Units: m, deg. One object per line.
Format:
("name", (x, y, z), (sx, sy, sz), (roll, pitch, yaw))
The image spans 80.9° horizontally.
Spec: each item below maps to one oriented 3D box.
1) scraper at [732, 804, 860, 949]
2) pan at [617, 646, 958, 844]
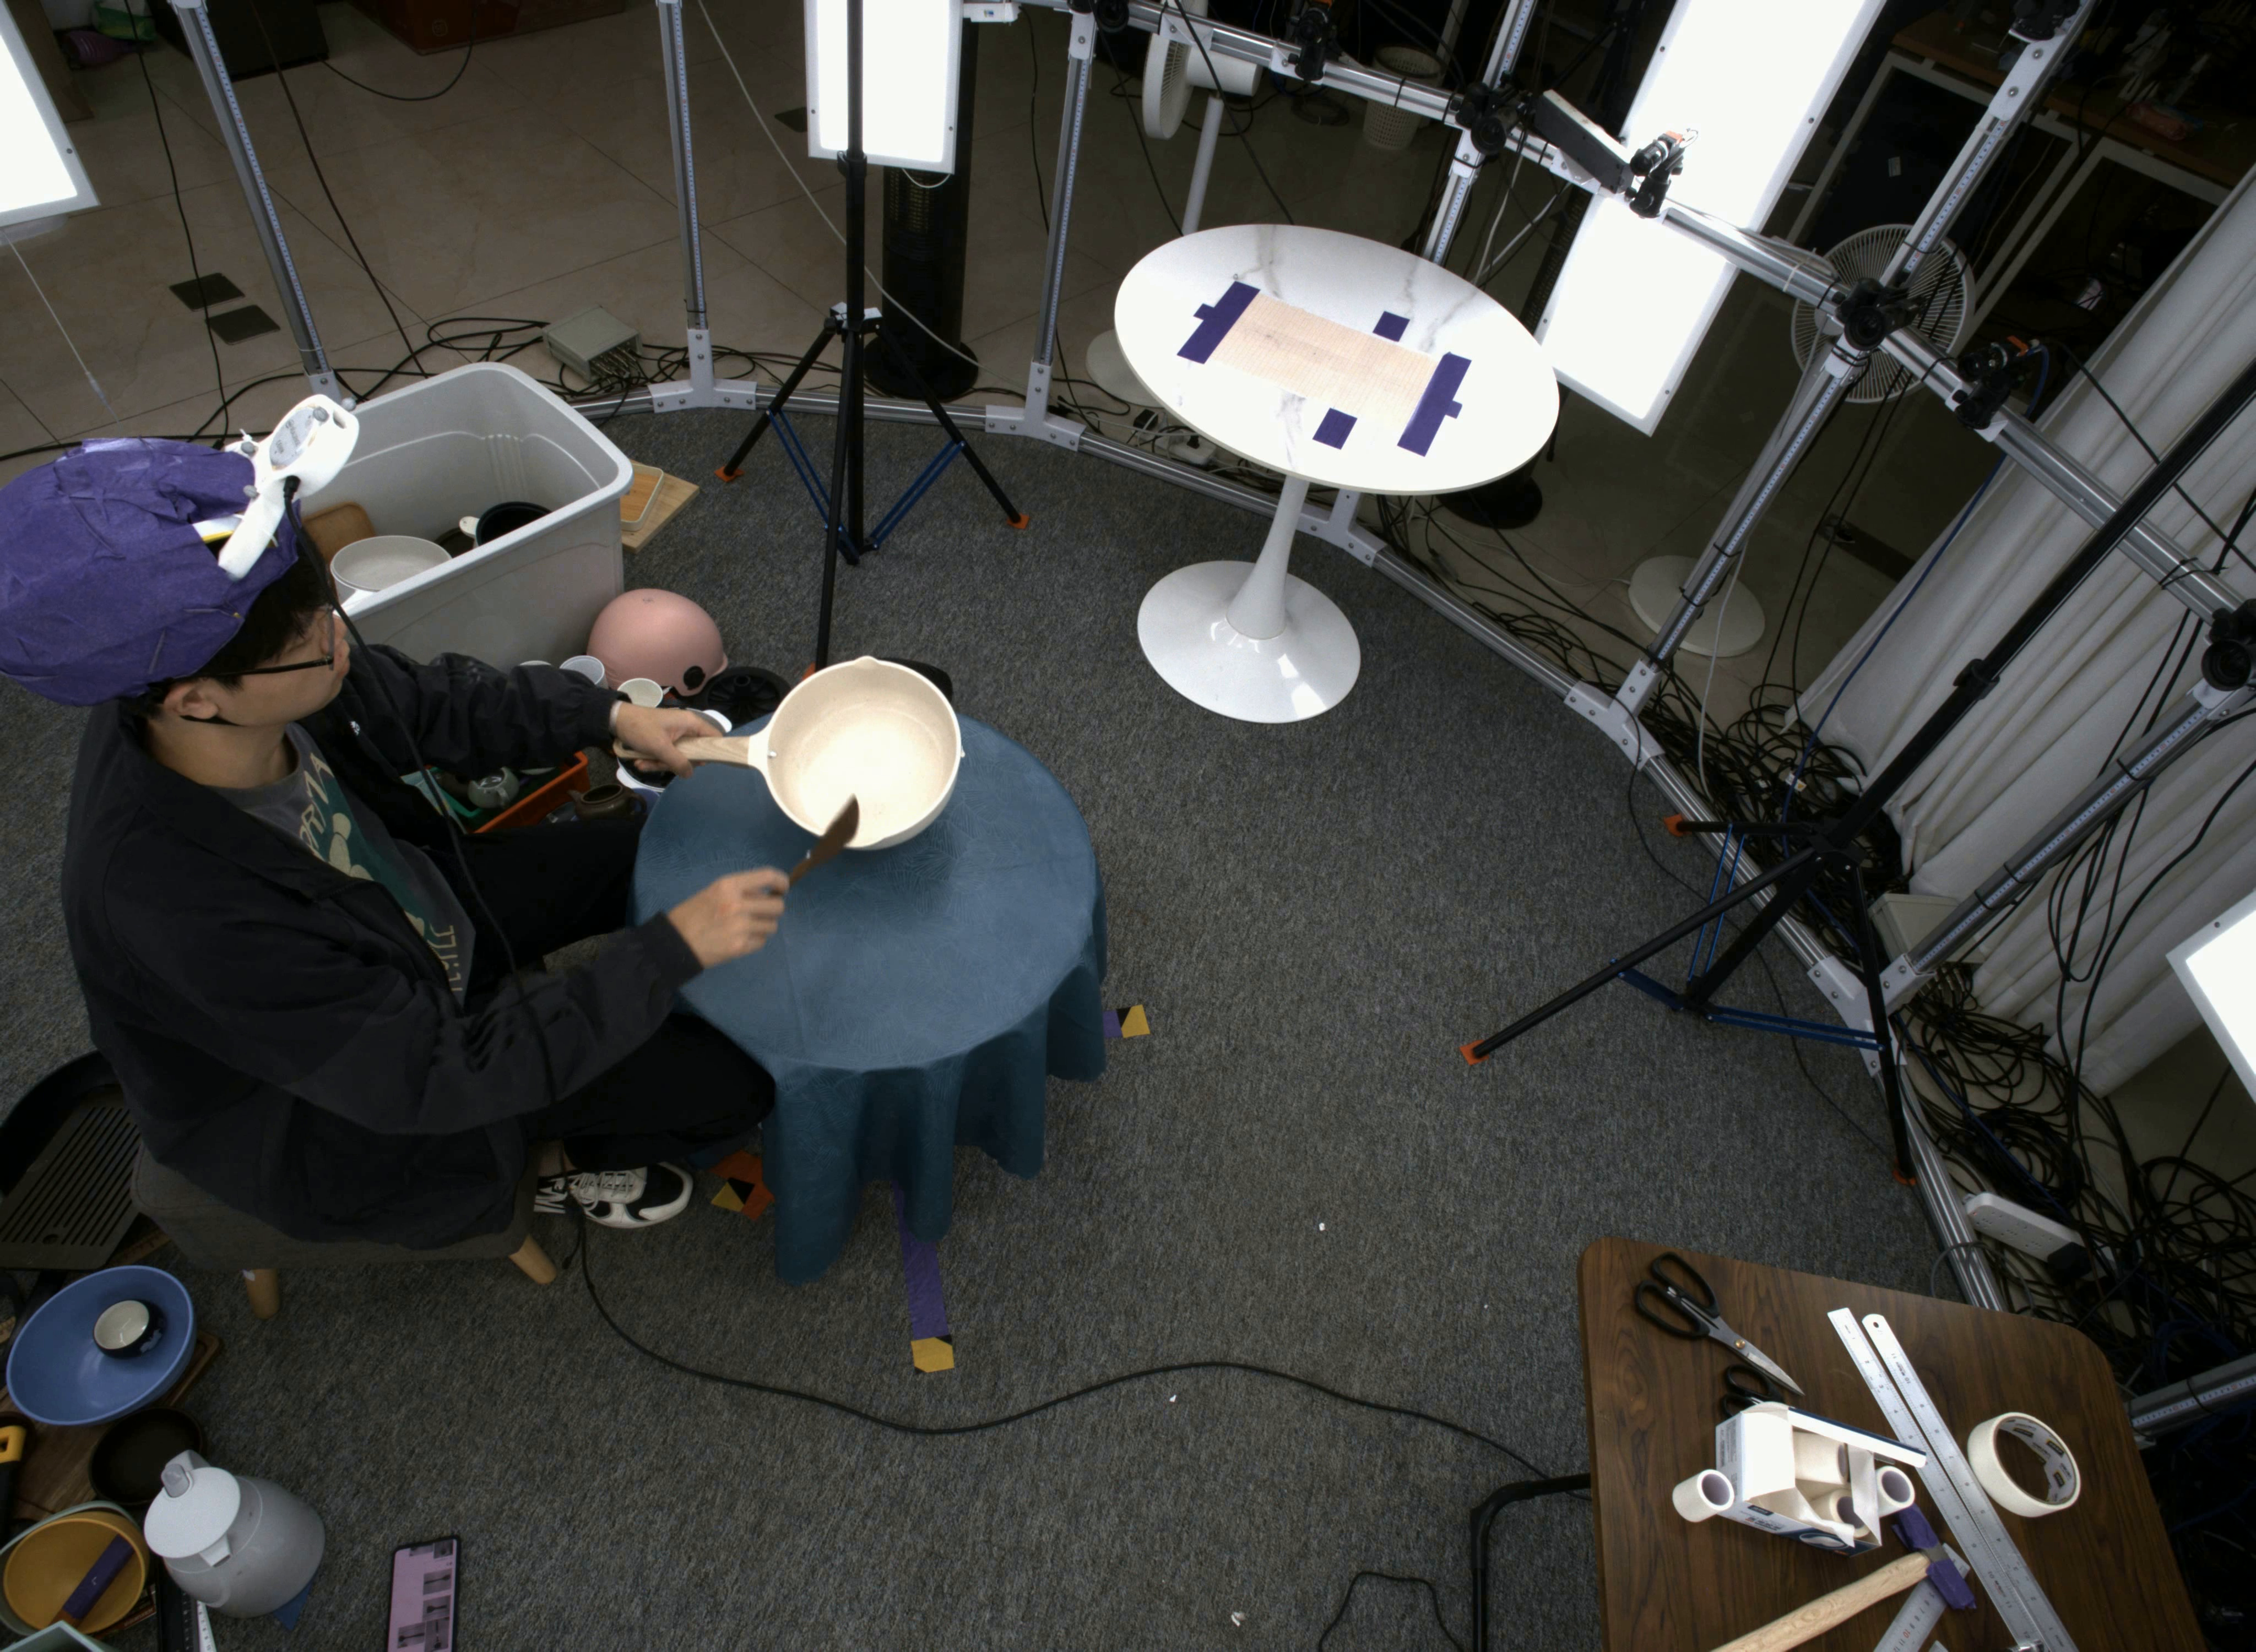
("scraper", (-0.373, 0.060, 1.471), (0.010, 0.077, 0.211), (34, 60, 13))
("pan", (-0.430, -0.093, 1.663), (0.431, 0.103, 0.262), (-2, 72, -3))
